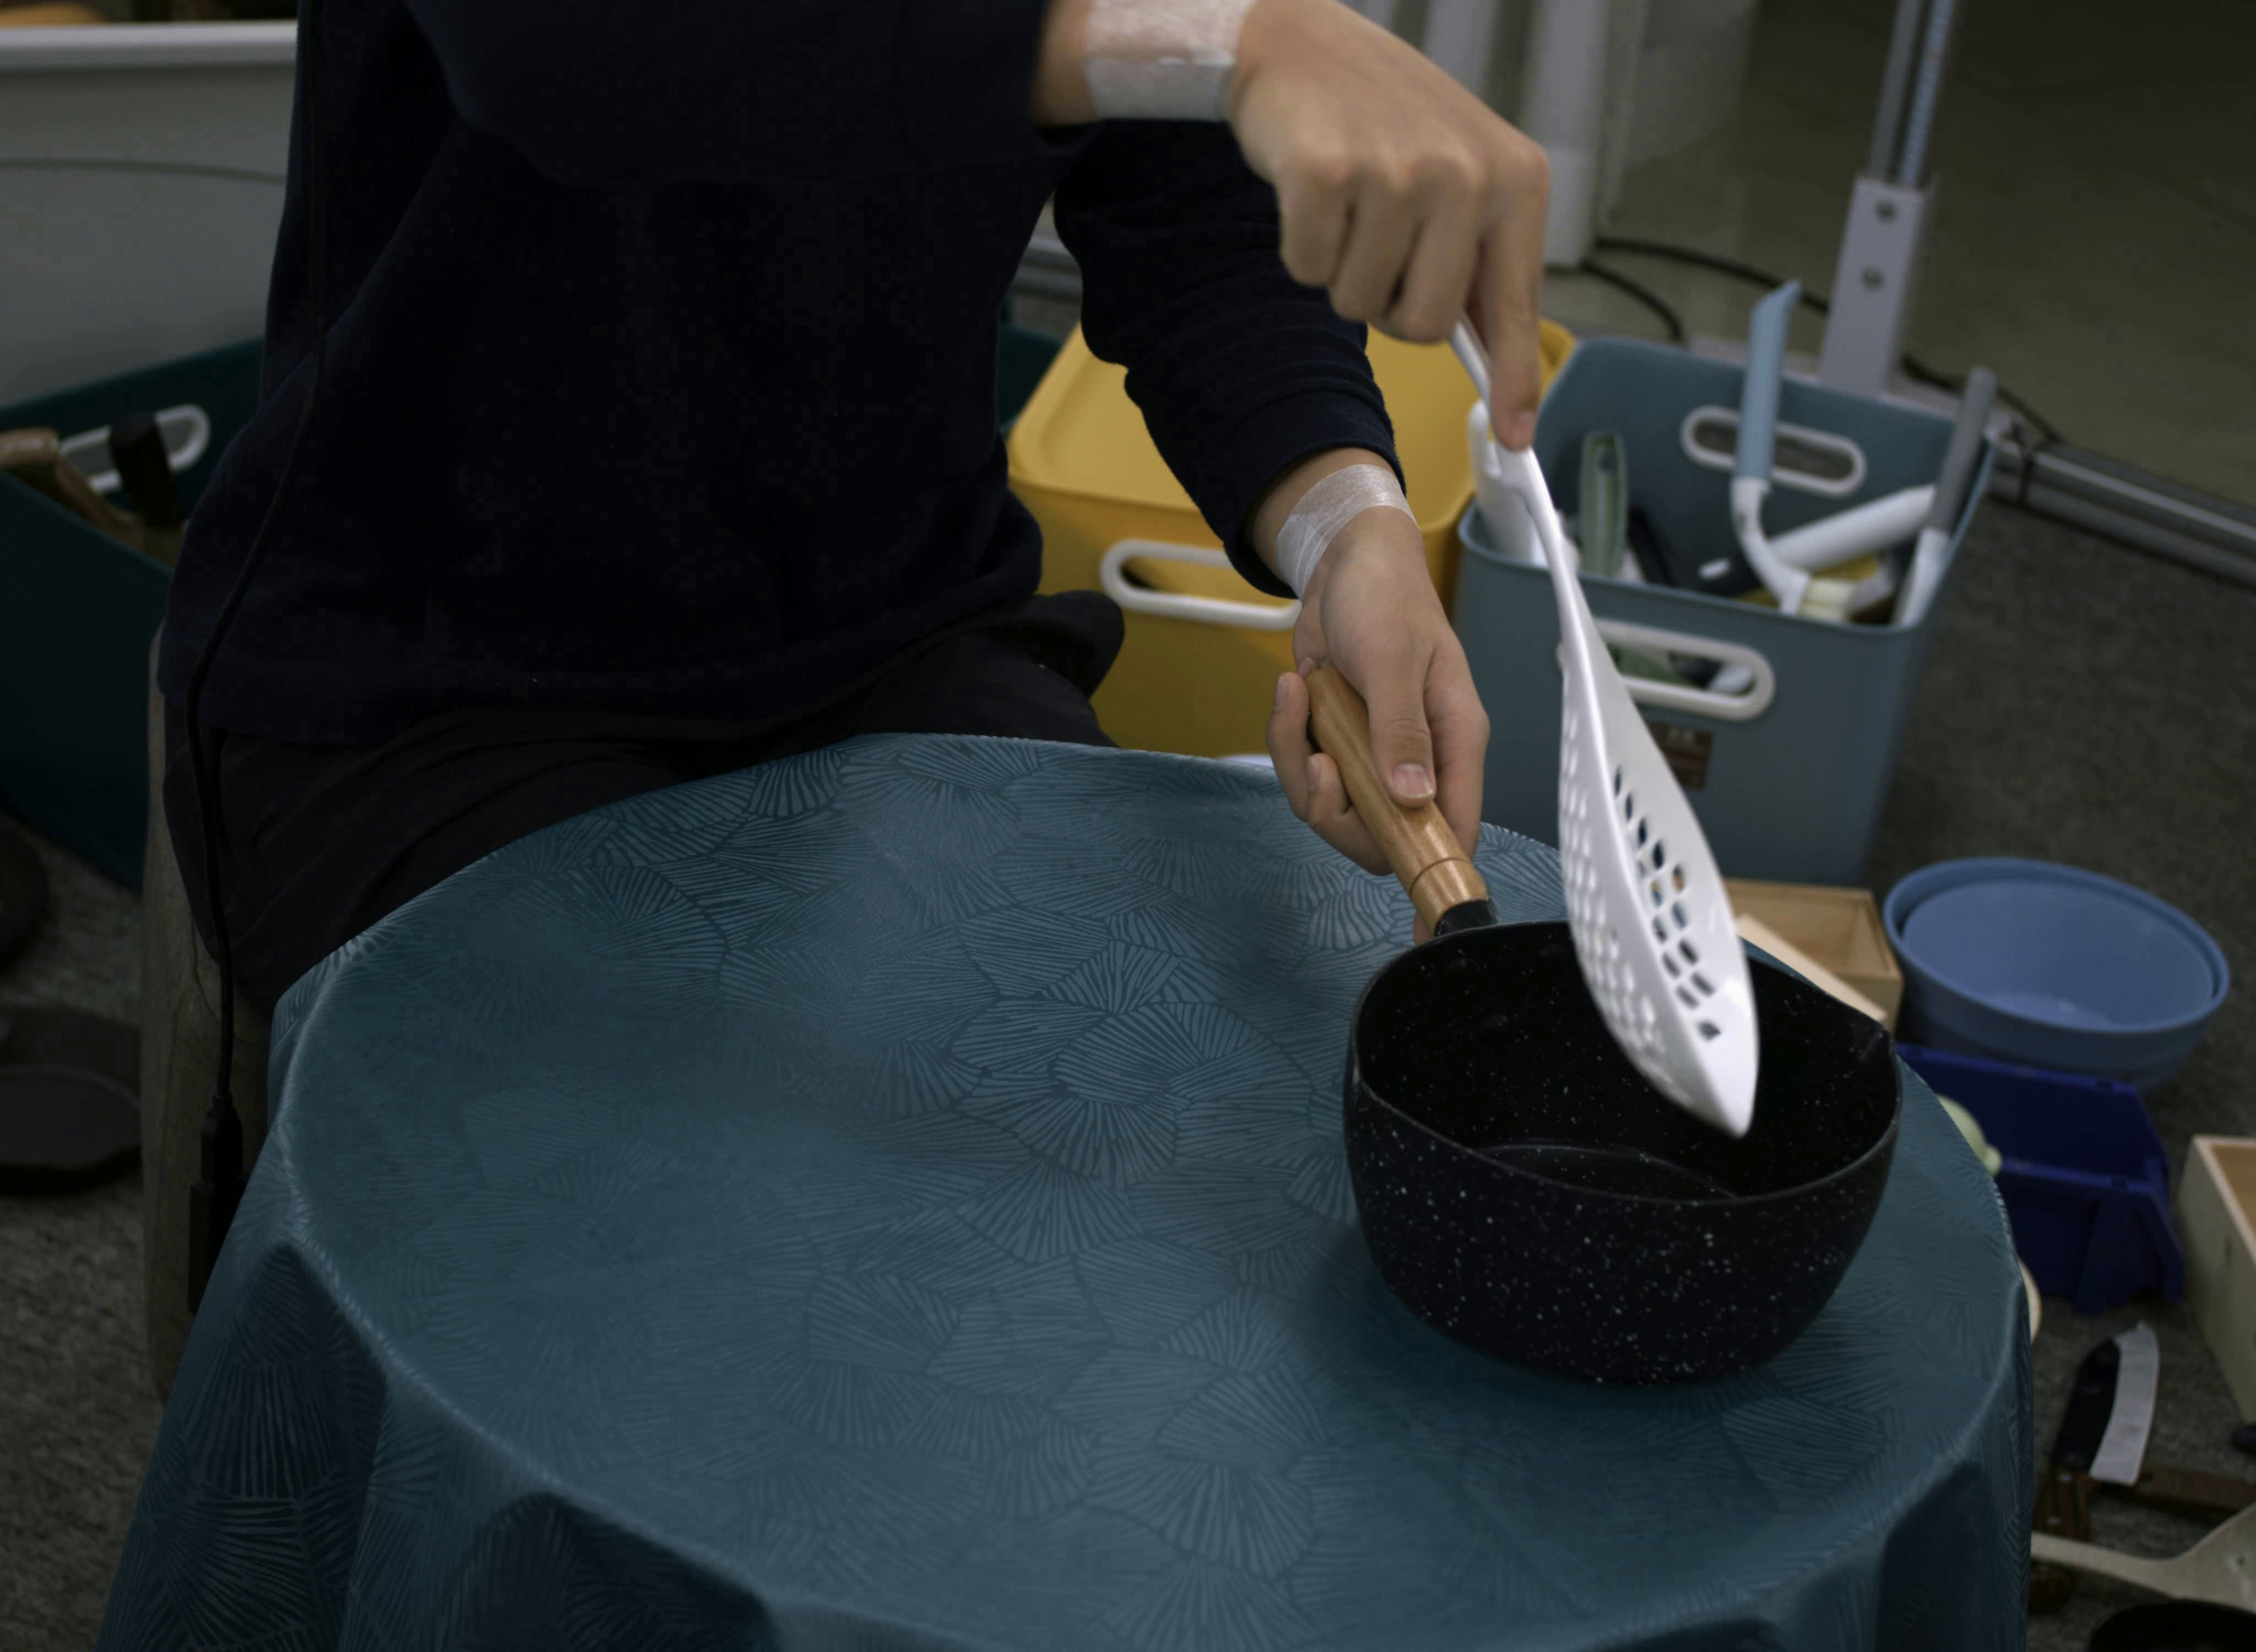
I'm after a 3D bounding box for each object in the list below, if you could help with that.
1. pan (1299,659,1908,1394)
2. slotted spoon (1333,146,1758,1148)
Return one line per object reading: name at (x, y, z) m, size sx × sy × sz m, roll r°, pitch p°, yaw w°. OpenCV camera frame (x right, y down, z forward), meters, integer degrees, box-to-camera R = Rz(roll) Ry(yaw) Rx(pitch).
pan at (0.130, 0.065, 1.827) m, size 0.206 × 0.108 × 0.346 m, roll -7°, pitch 31°, yaw -23°
slotted spoon at (0.135, -0.058, 1.691) m, size 0.050 × 0.347 × 0.137 m, roll -12°, pitch 19°, yaw 15°
